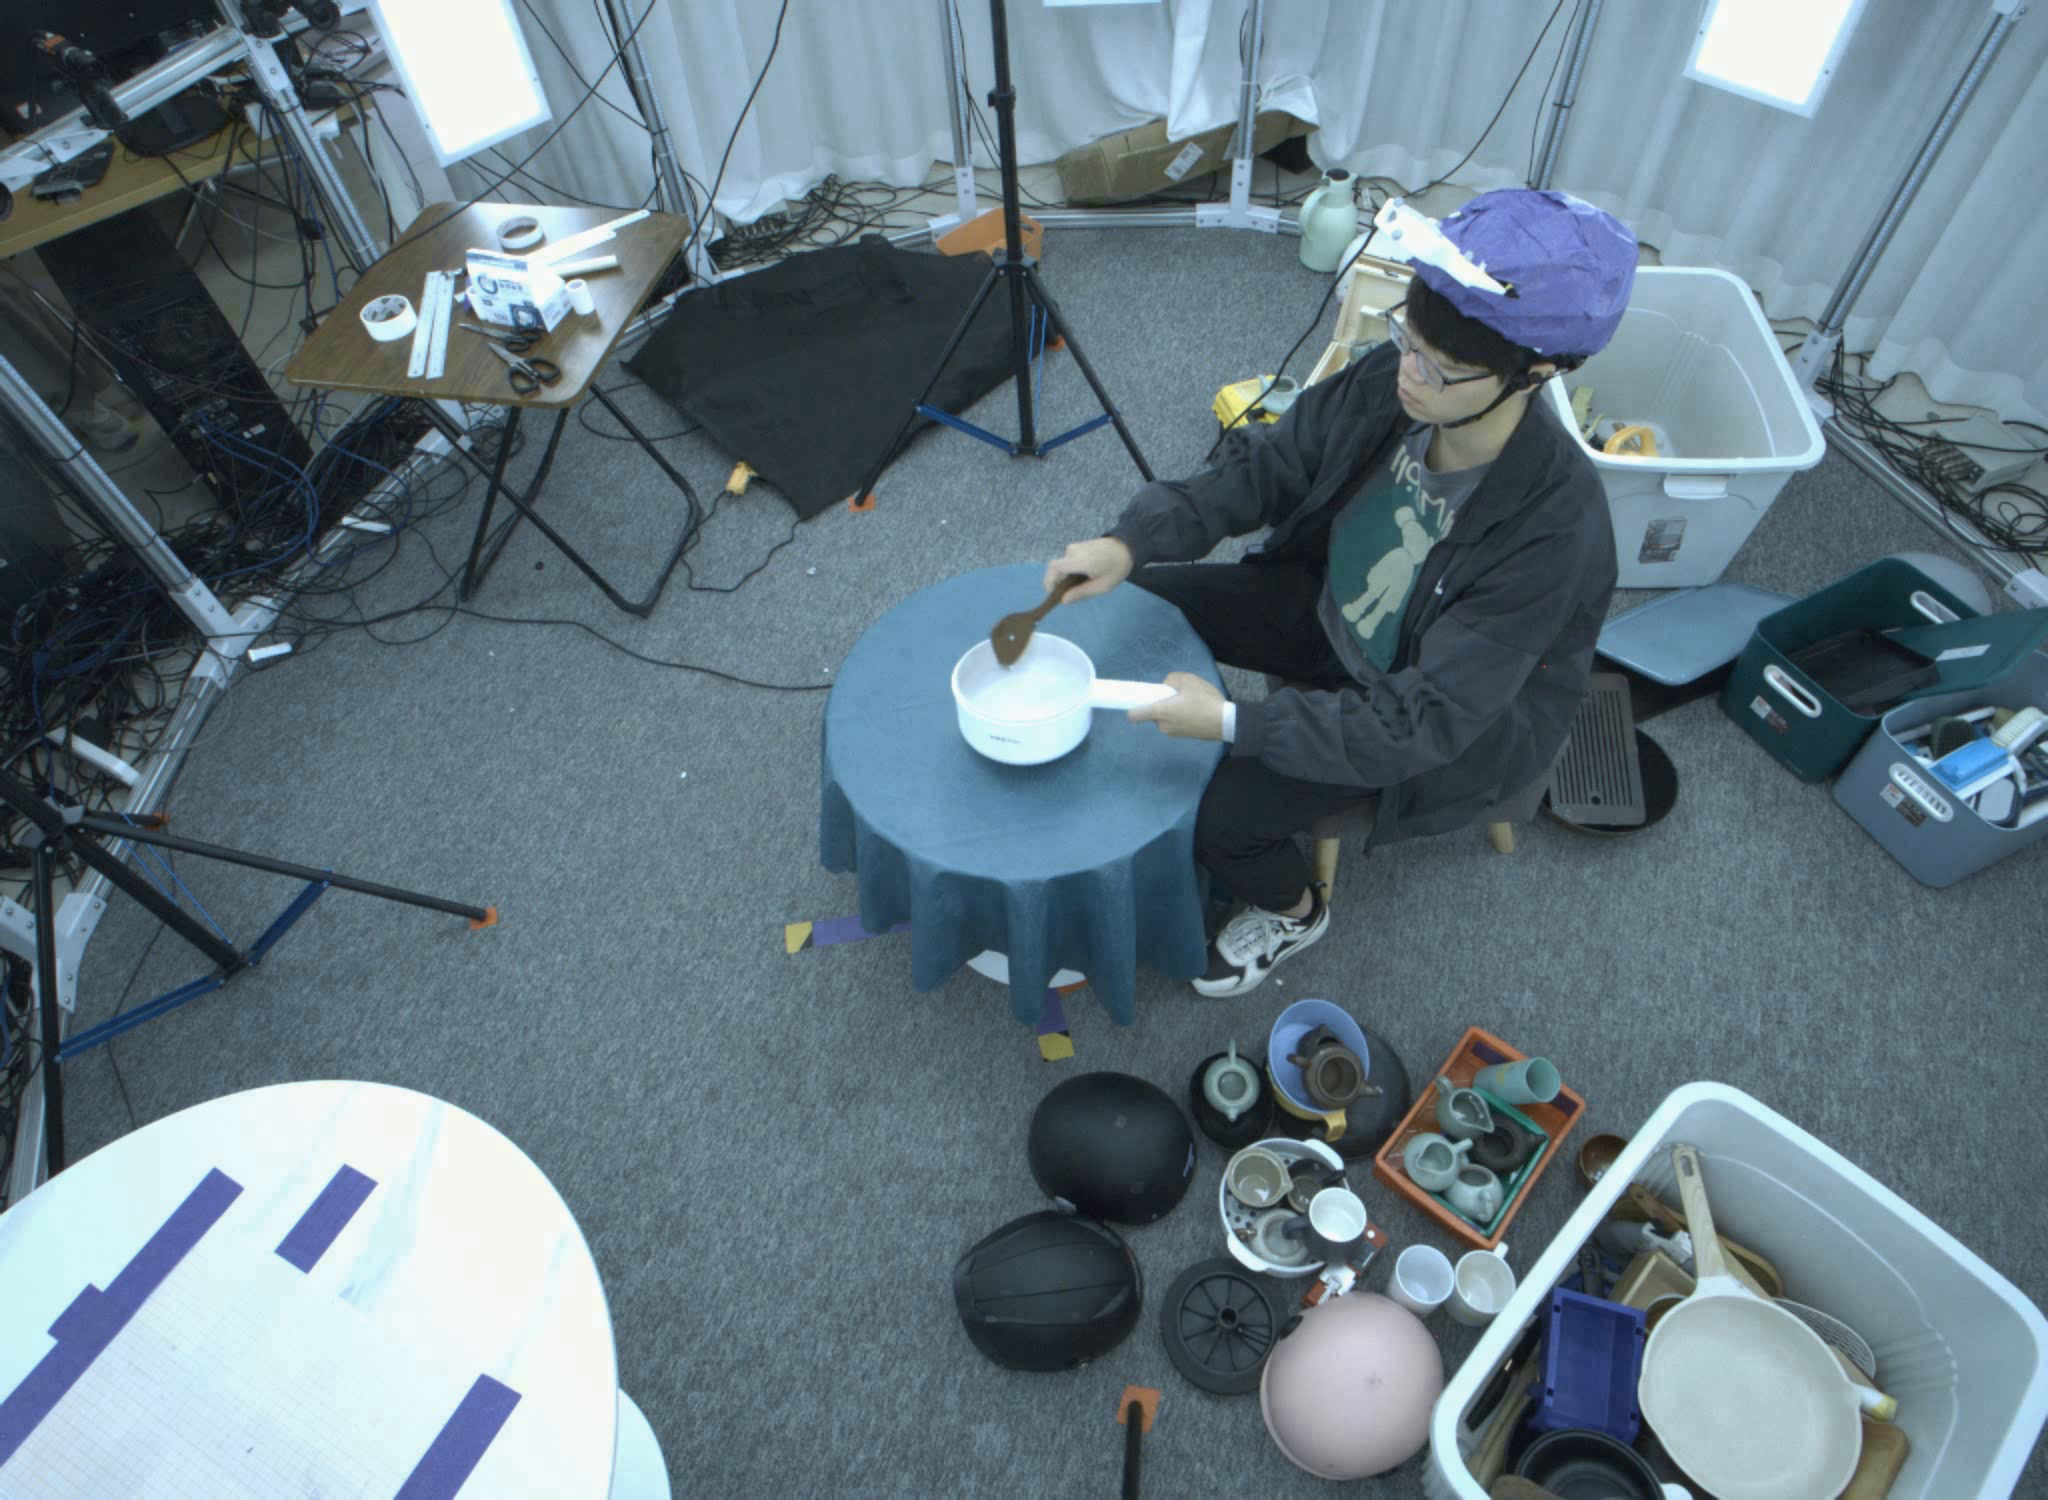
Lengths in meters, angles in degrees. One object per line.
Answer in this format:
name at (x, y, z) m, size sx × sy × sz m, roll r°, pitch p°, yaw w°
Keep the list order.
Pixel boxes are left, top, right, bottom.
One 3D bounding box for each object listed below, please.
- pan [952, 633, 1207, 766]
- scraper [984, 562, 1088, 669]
pan at (0.077, -0.058, 1.735) m, size 0.353 × 0.103 × 0.200 m, roll 7°, pitch 44°, yaw 6°
scraper at (0.020, -0.201, 1.742) m, size 0.010 × 0.077 × 0.212 m, roll 22°, pitch 55°, yaw 41°
